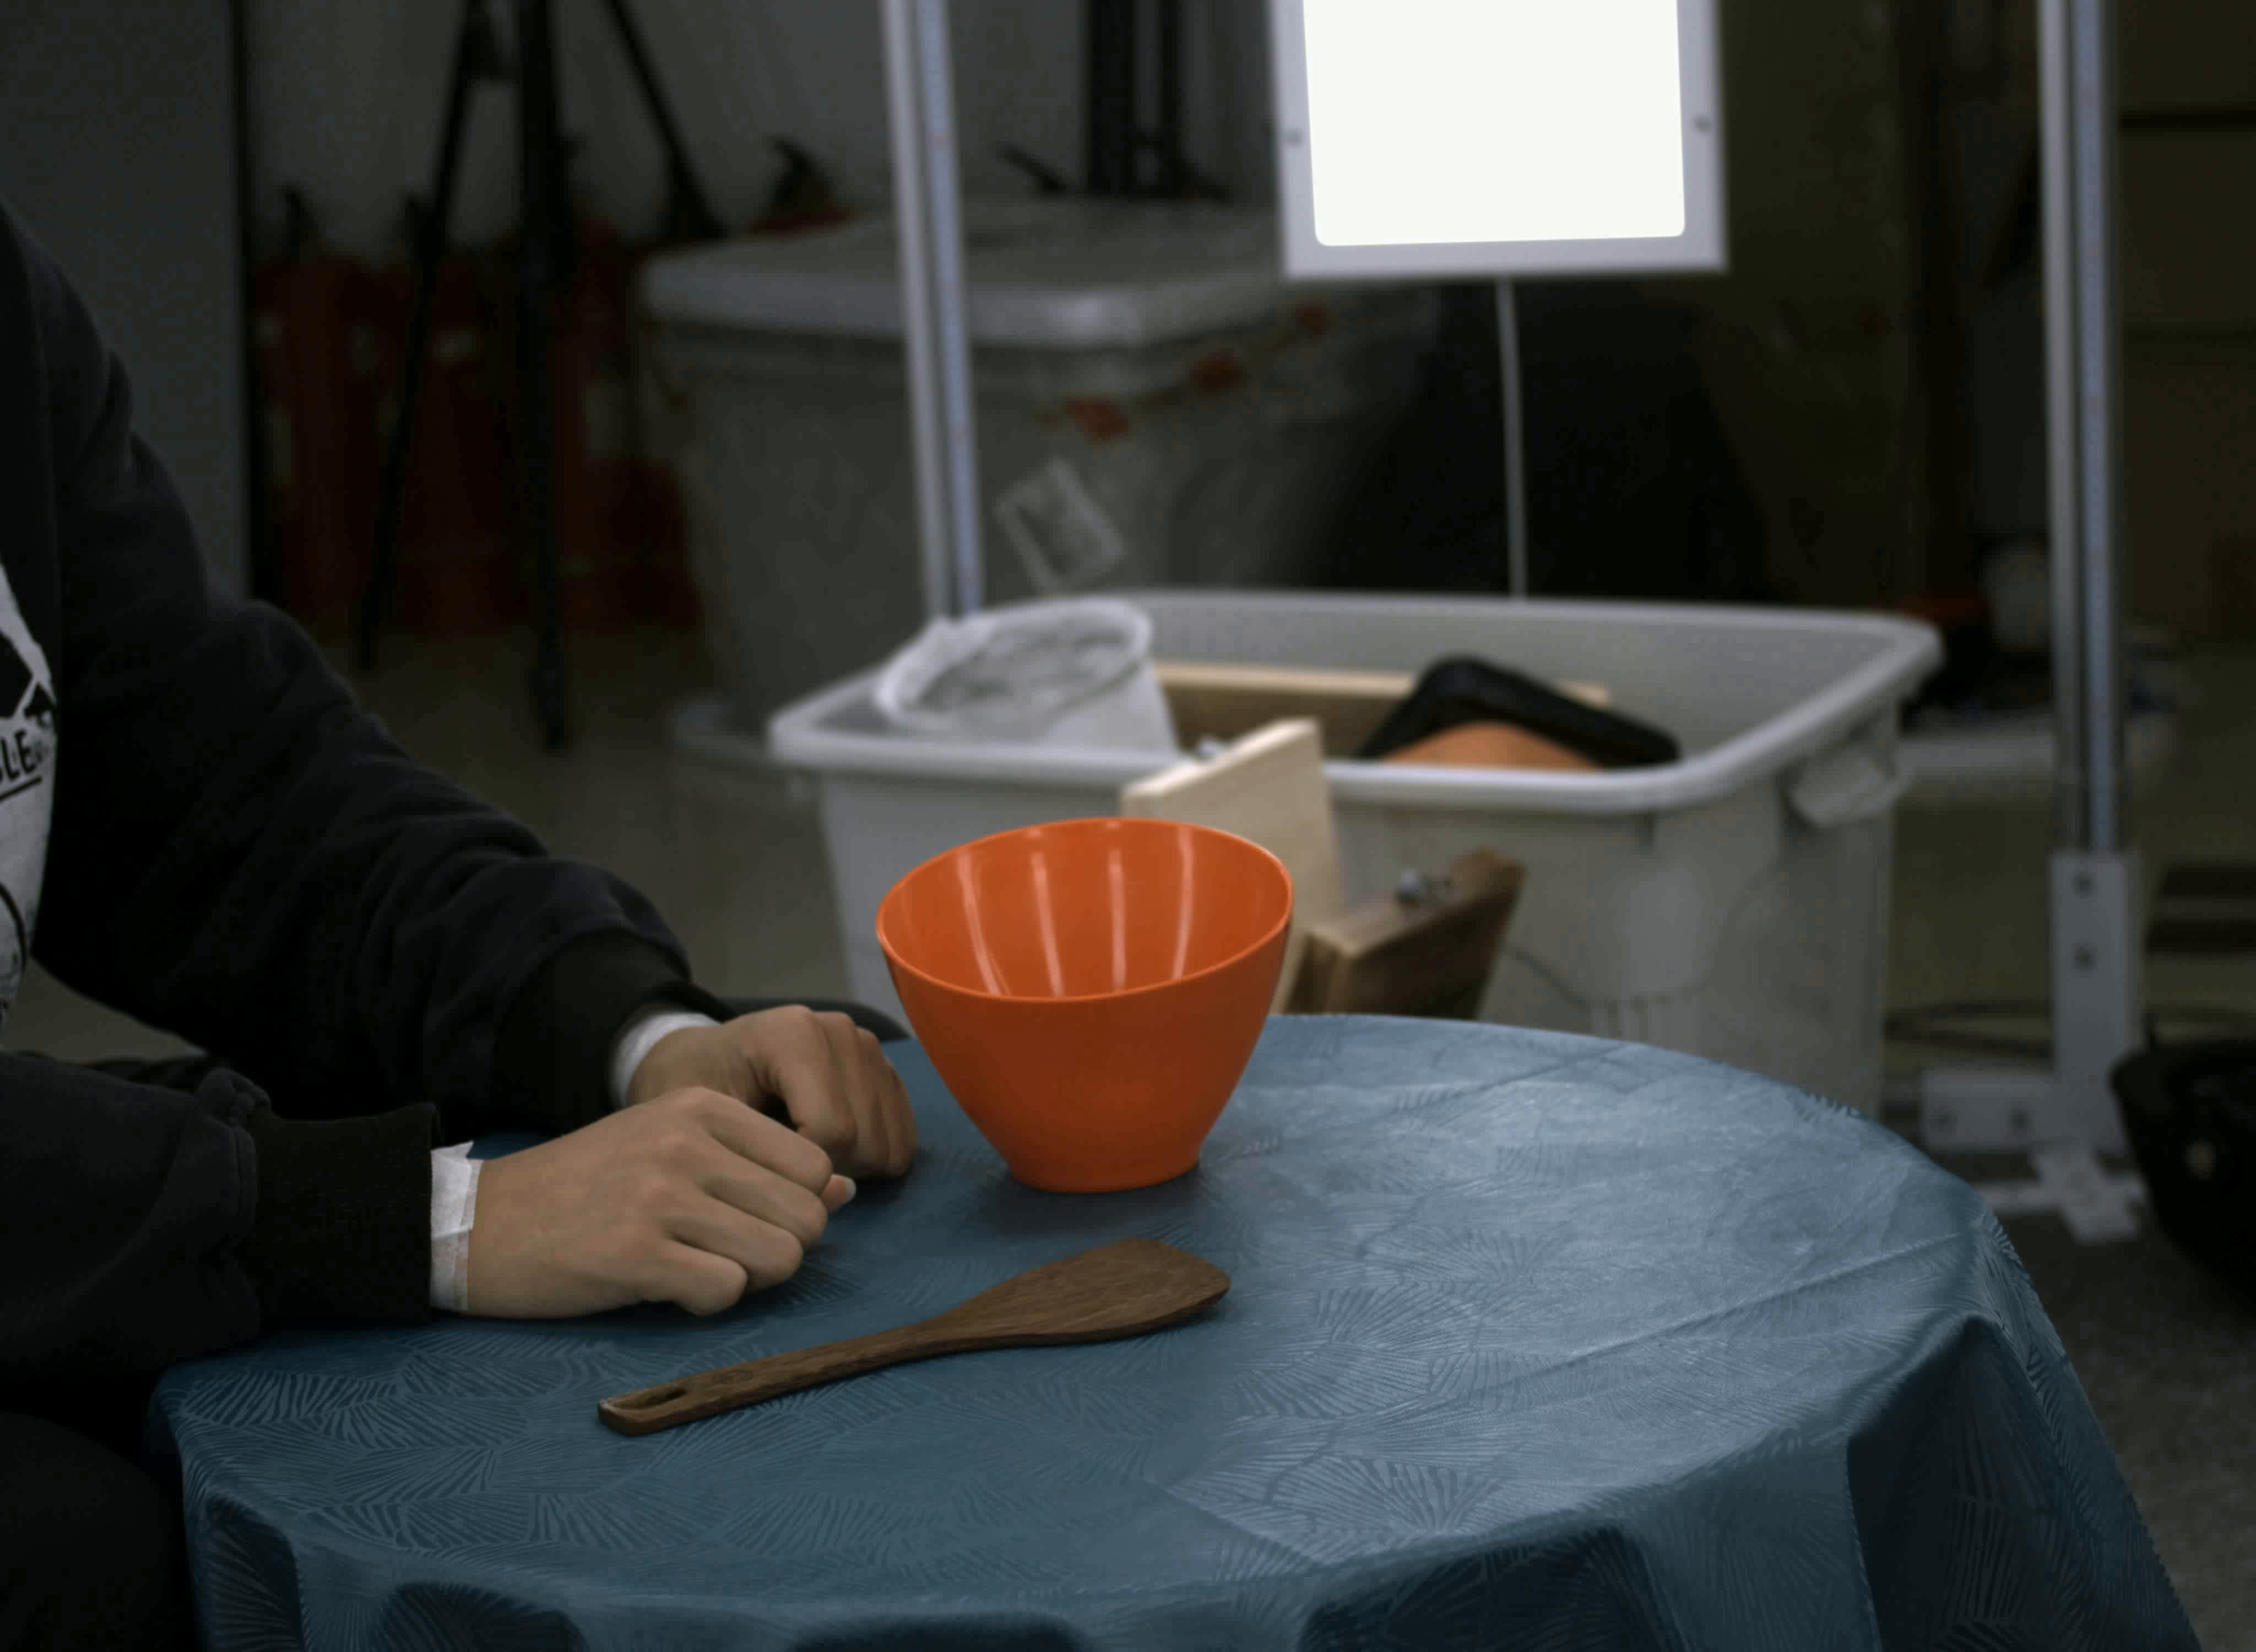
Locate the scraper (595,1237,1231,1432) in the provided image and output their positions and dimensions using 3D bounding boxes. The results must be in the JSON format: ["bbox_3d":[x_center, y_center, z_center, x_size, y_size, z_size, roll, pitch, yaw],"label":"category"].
[{"bbox_3d":[-0.070,0.164,1.752,0.207,0.011,0.077,-12,15,-24],"label":"scraper"}]

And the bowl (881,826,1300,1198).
[{"bbox_3d":[-0.010,0.068,1.928,0.147,0.105,0.148,-5,14,0],"label":"bowl"}]
